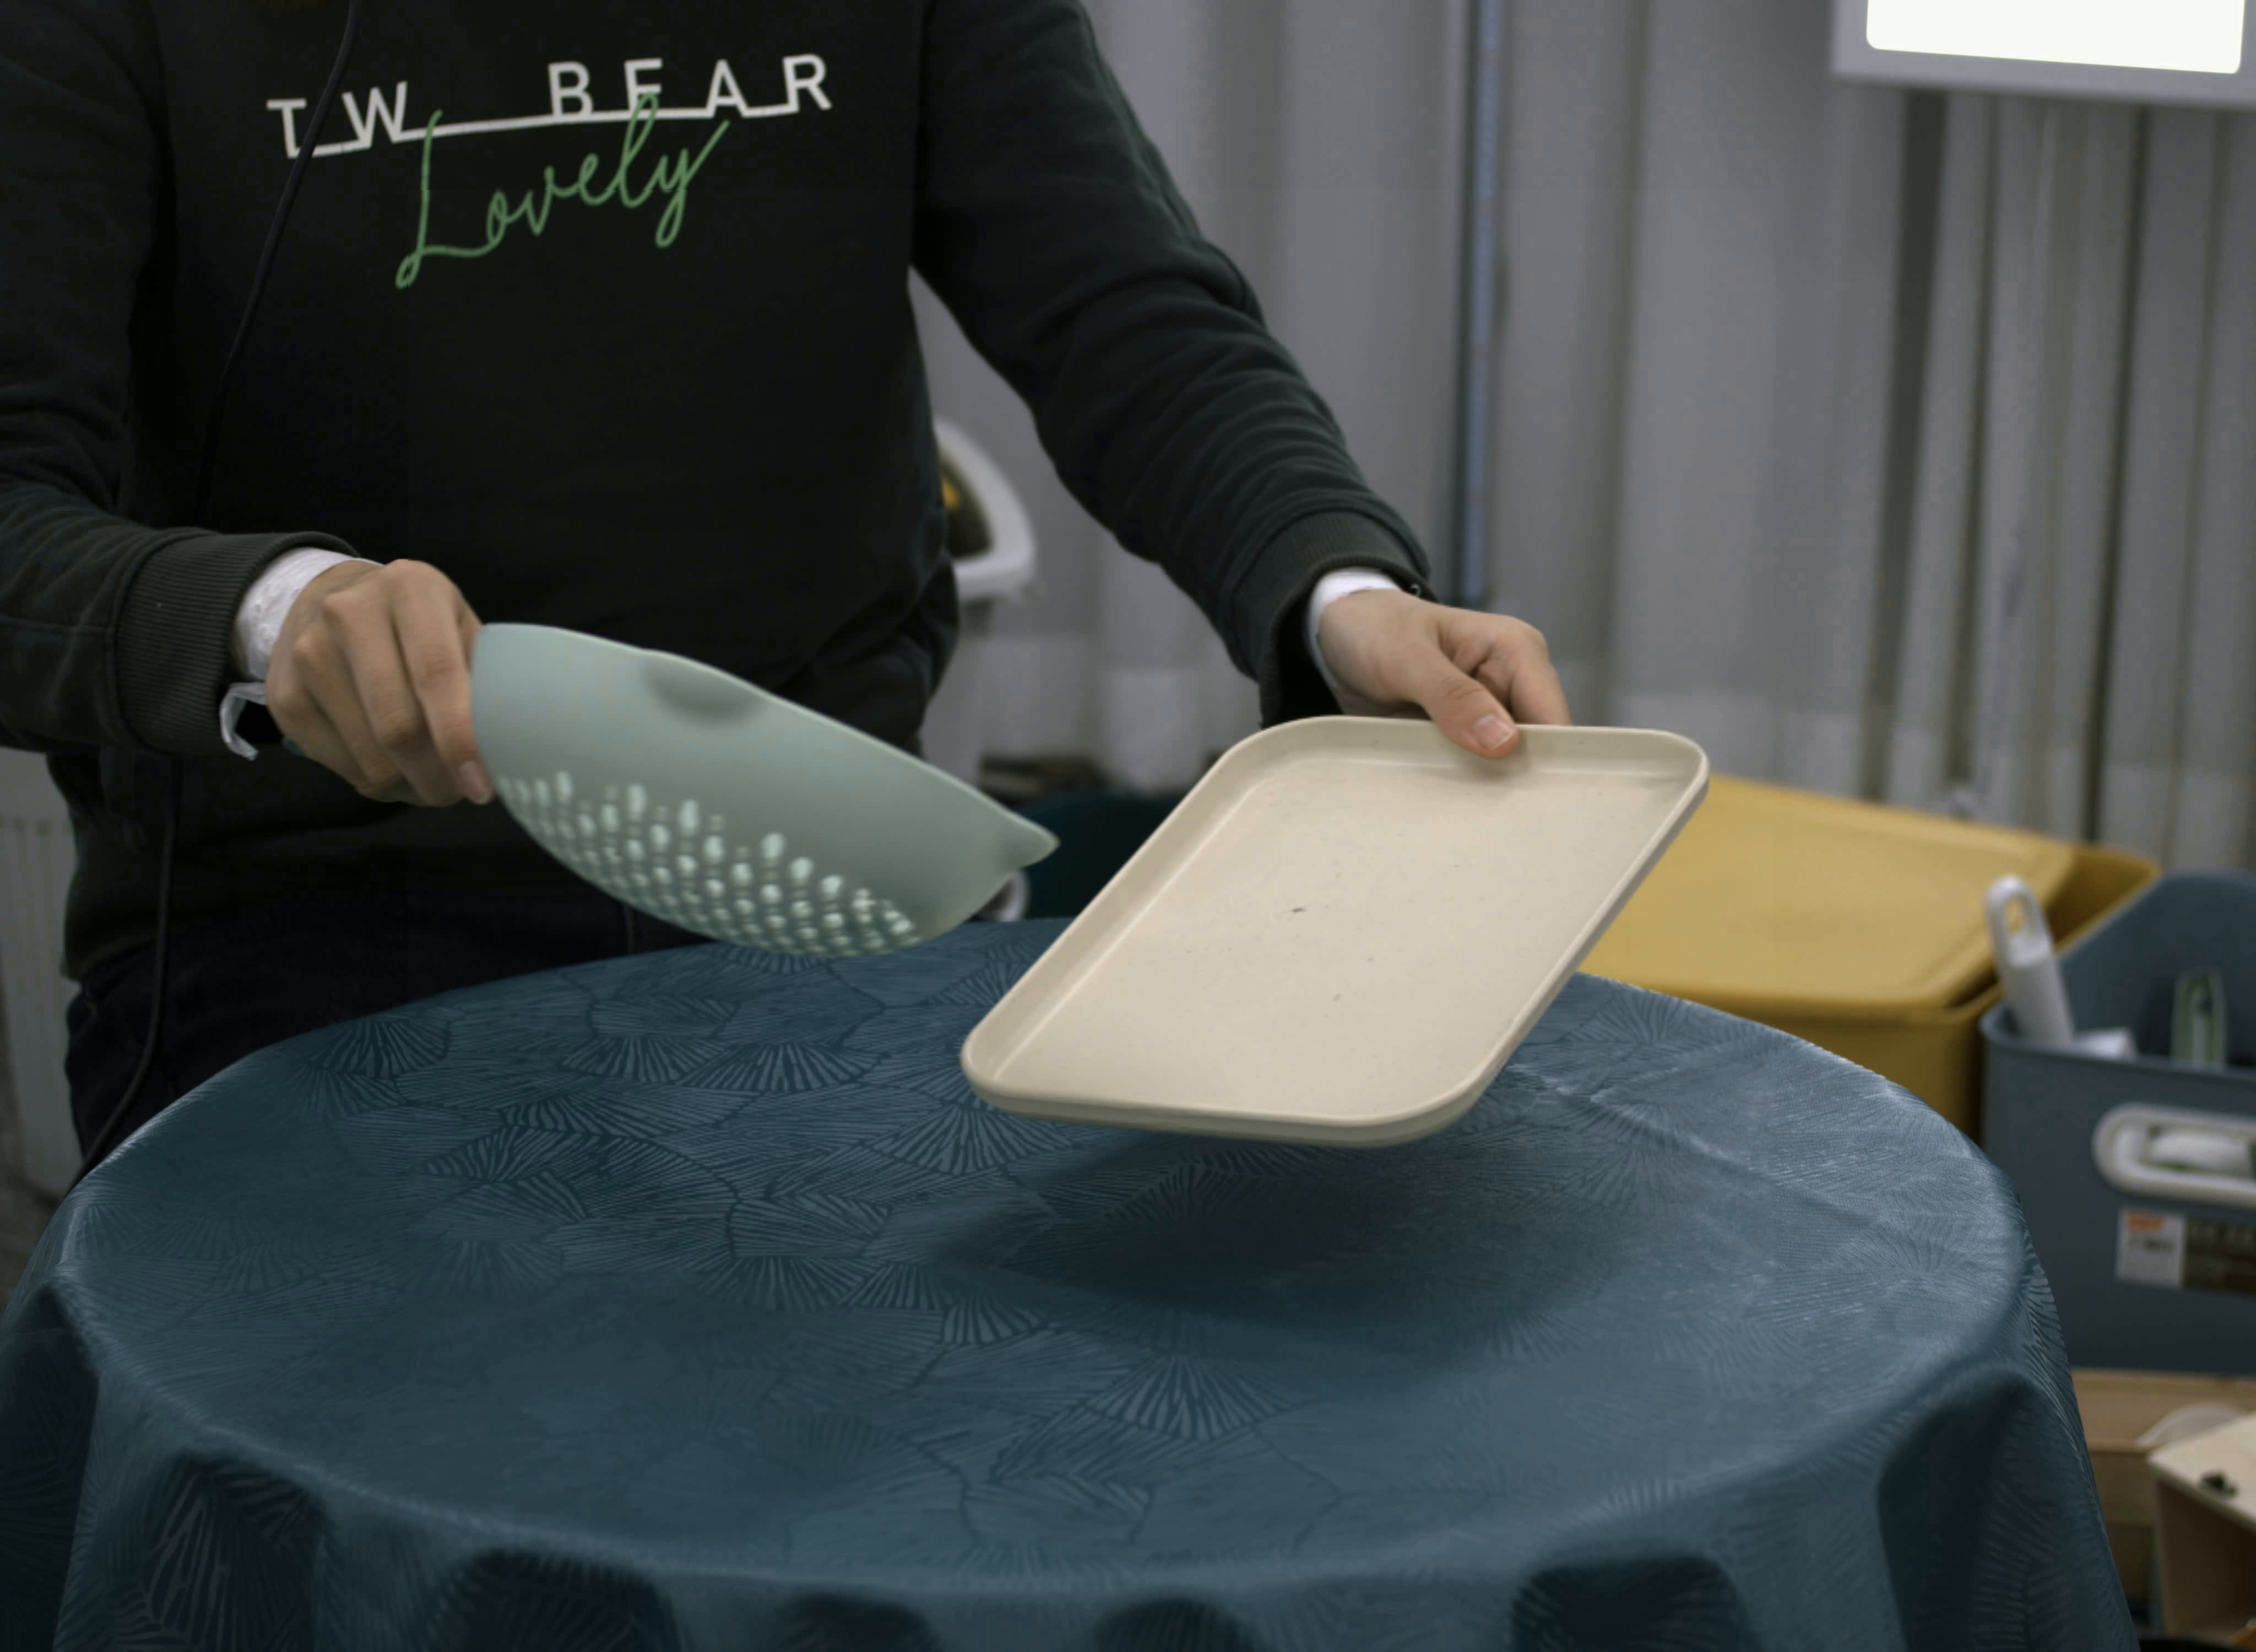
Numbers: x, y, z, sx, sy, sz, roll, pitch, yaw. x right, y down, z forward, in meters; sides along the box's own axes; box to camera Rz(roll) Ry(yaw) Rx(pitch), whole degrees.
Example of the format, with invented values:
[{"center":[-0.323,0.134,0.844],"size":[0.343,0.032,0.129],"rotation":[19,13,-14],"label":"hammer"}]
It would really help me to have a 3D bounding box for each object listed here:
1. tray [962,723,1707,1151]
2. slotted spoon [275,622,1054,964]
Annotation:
[{"center":[0.067,0.032,1.610],"size":[0.169,0.018,0.239],"rotation":[4,30,28],"label":"tray"},{"center":[-0.167,-0.019,1.569],"size":[0.171,0.075,0.354],"rotation":[28,-4,-34],"label":"slotted spoon"}]
